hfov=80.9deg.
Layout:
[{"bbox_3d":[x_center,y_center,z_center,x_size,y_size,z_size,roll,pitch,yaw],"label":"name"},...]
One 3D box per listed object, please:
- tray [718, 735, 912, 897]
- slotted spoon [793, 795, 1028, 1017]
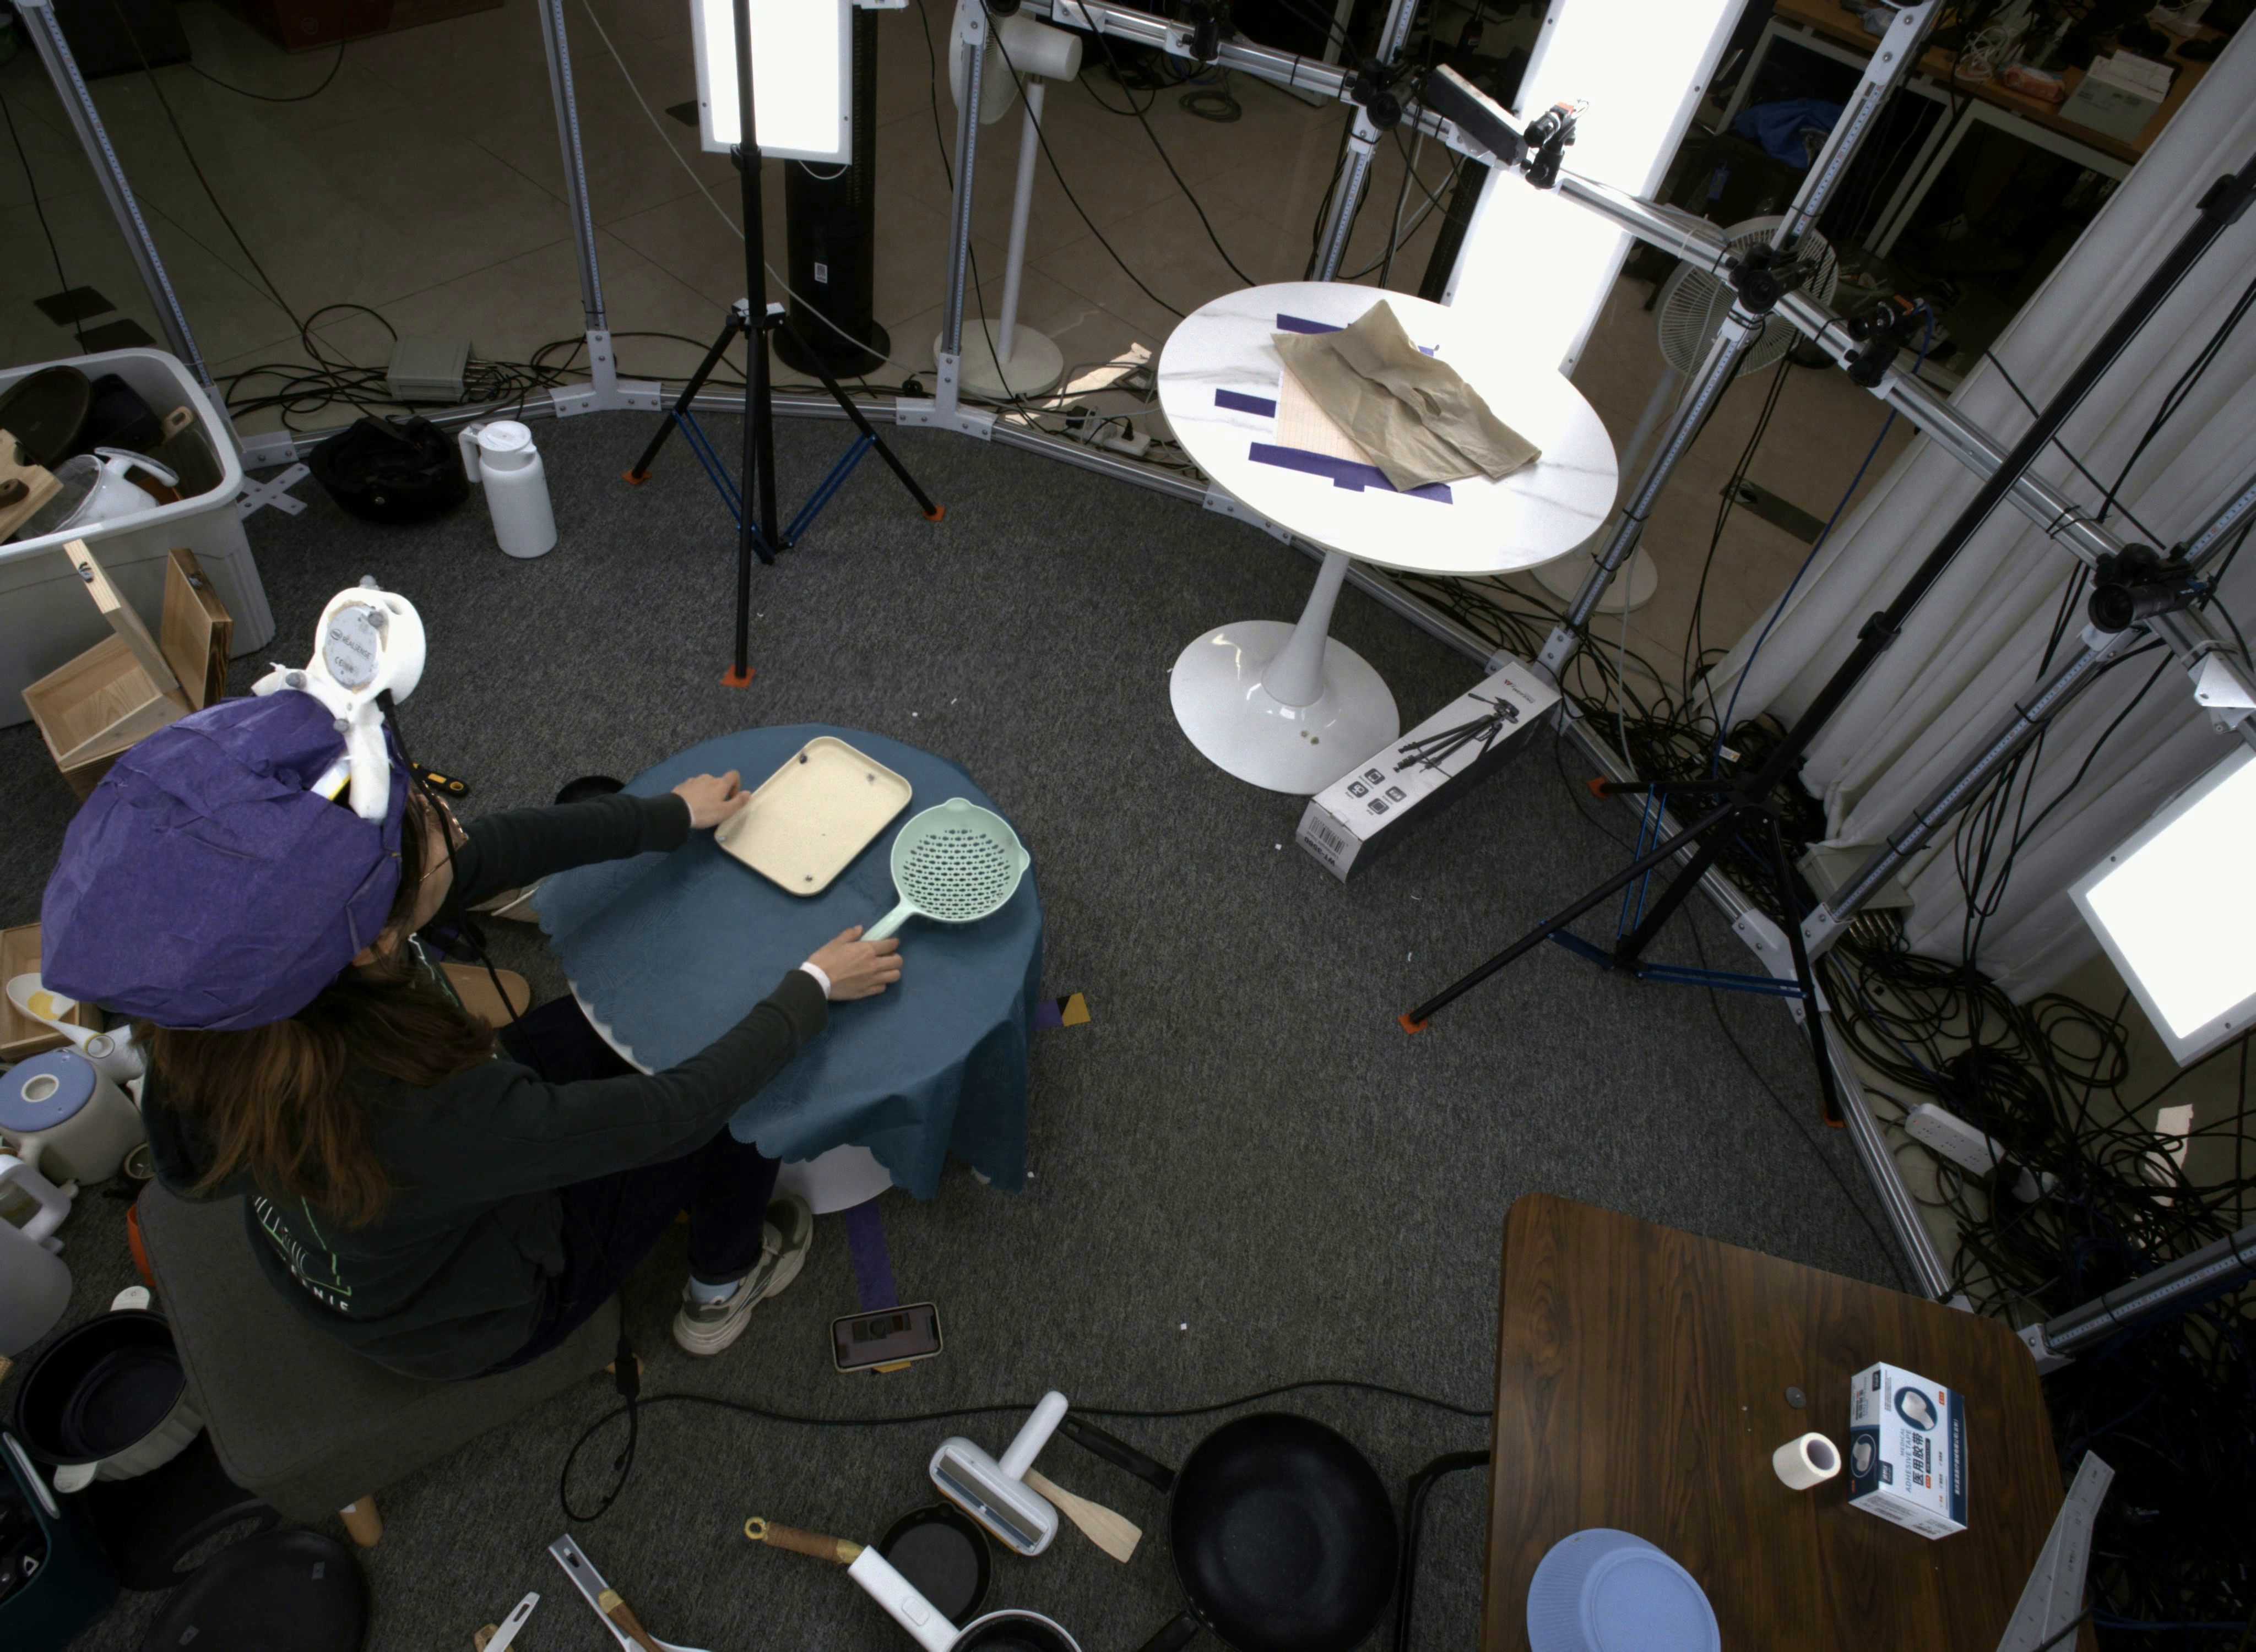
[{"bbox_3d":[-0.415,-0.016,1.733,0.168,0.018,0.239,31,53,9],"label":"tray"},{"bbox_3d":[-0.285,0.108,1.643,0.166,0.076,0.359,40,55,12],"label":"slotted spoon"}]
